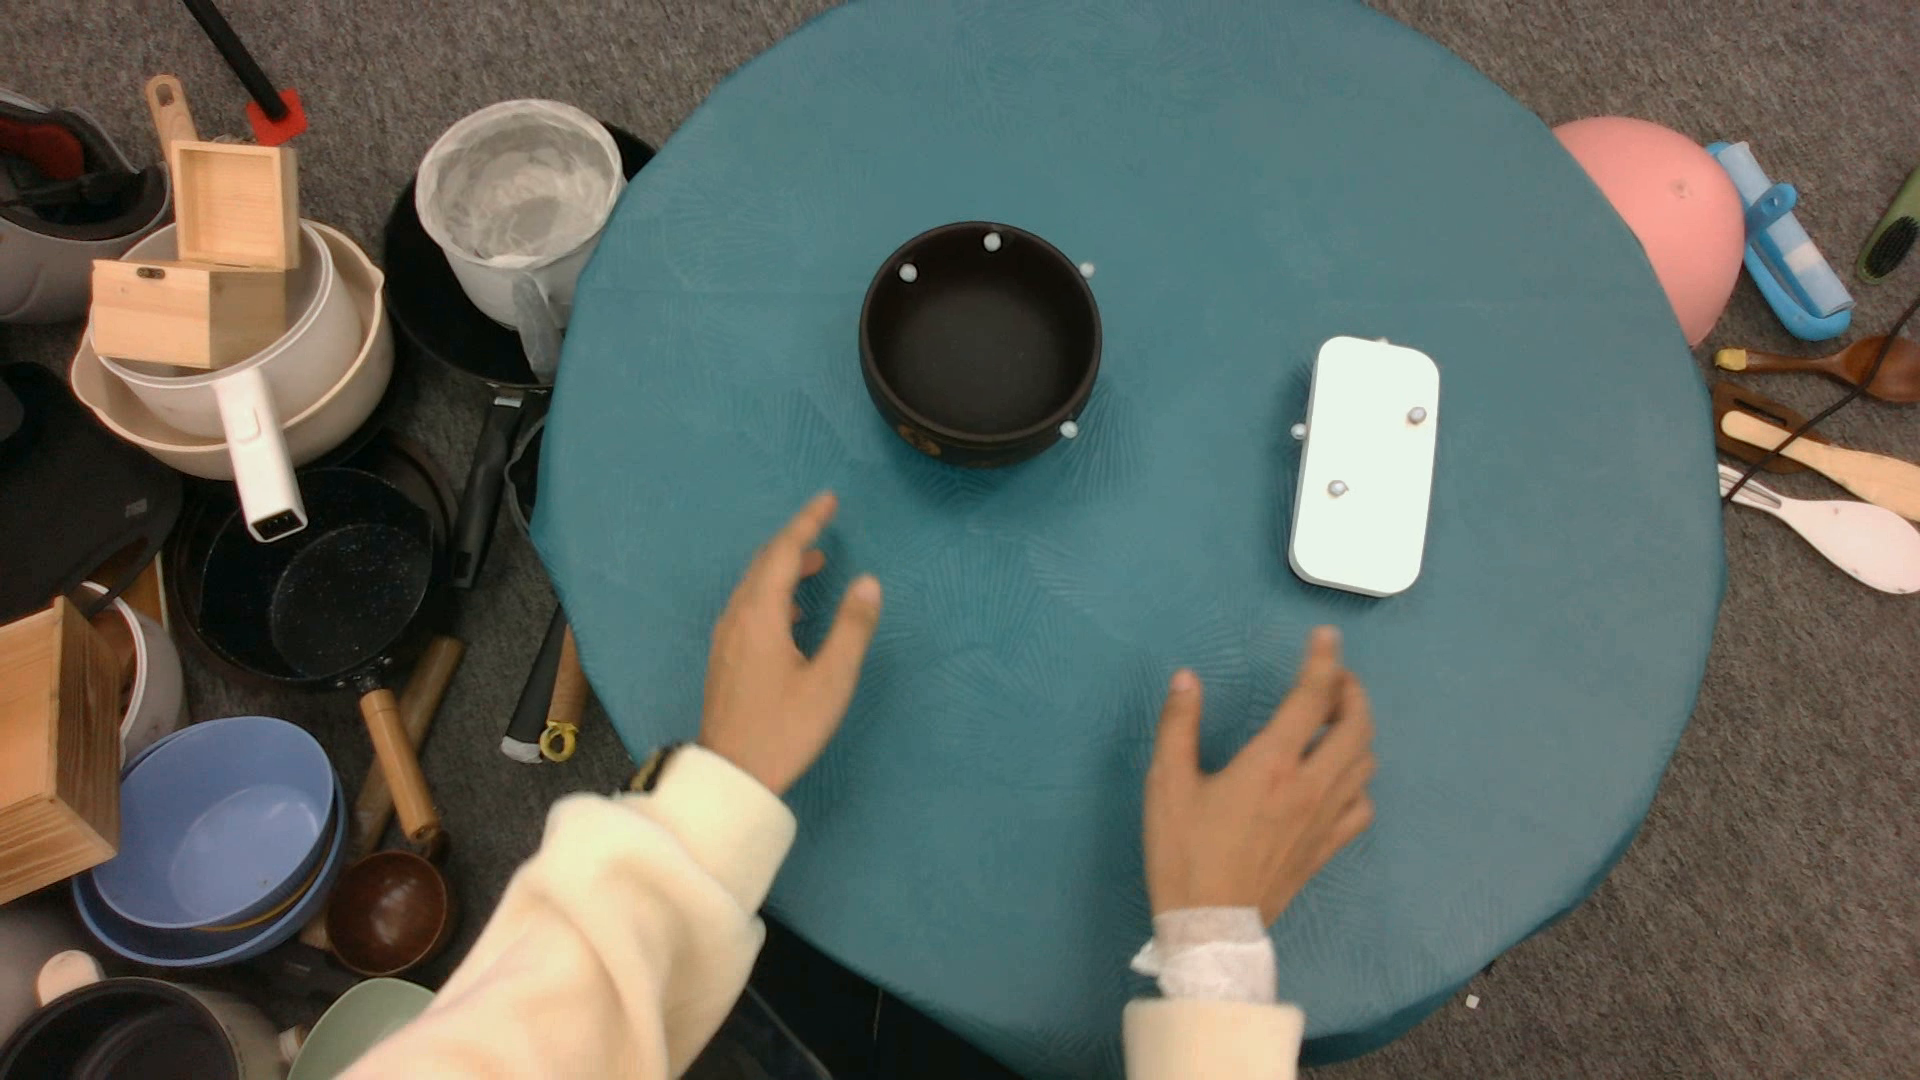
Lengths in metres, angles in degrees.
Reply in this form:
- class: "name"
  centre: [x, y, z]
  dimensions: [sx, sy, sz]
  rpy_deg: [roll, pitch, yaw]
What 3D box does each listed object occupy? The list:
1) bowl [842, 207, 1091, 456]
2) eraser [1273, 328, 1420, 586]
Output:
- class: "bowl"
  centre: [0.002, -0.095, 0.671]
  dimensions: [0.118, 0.069, 0.118]
  rpy_deg: [0, 72, -1]
- class: "eraser"
  centre: [0.192, -0.043, 0.689]
  dimensions: [0.063, 0.034, 0.131]
  rpy_deg: [12, 71, 0]
